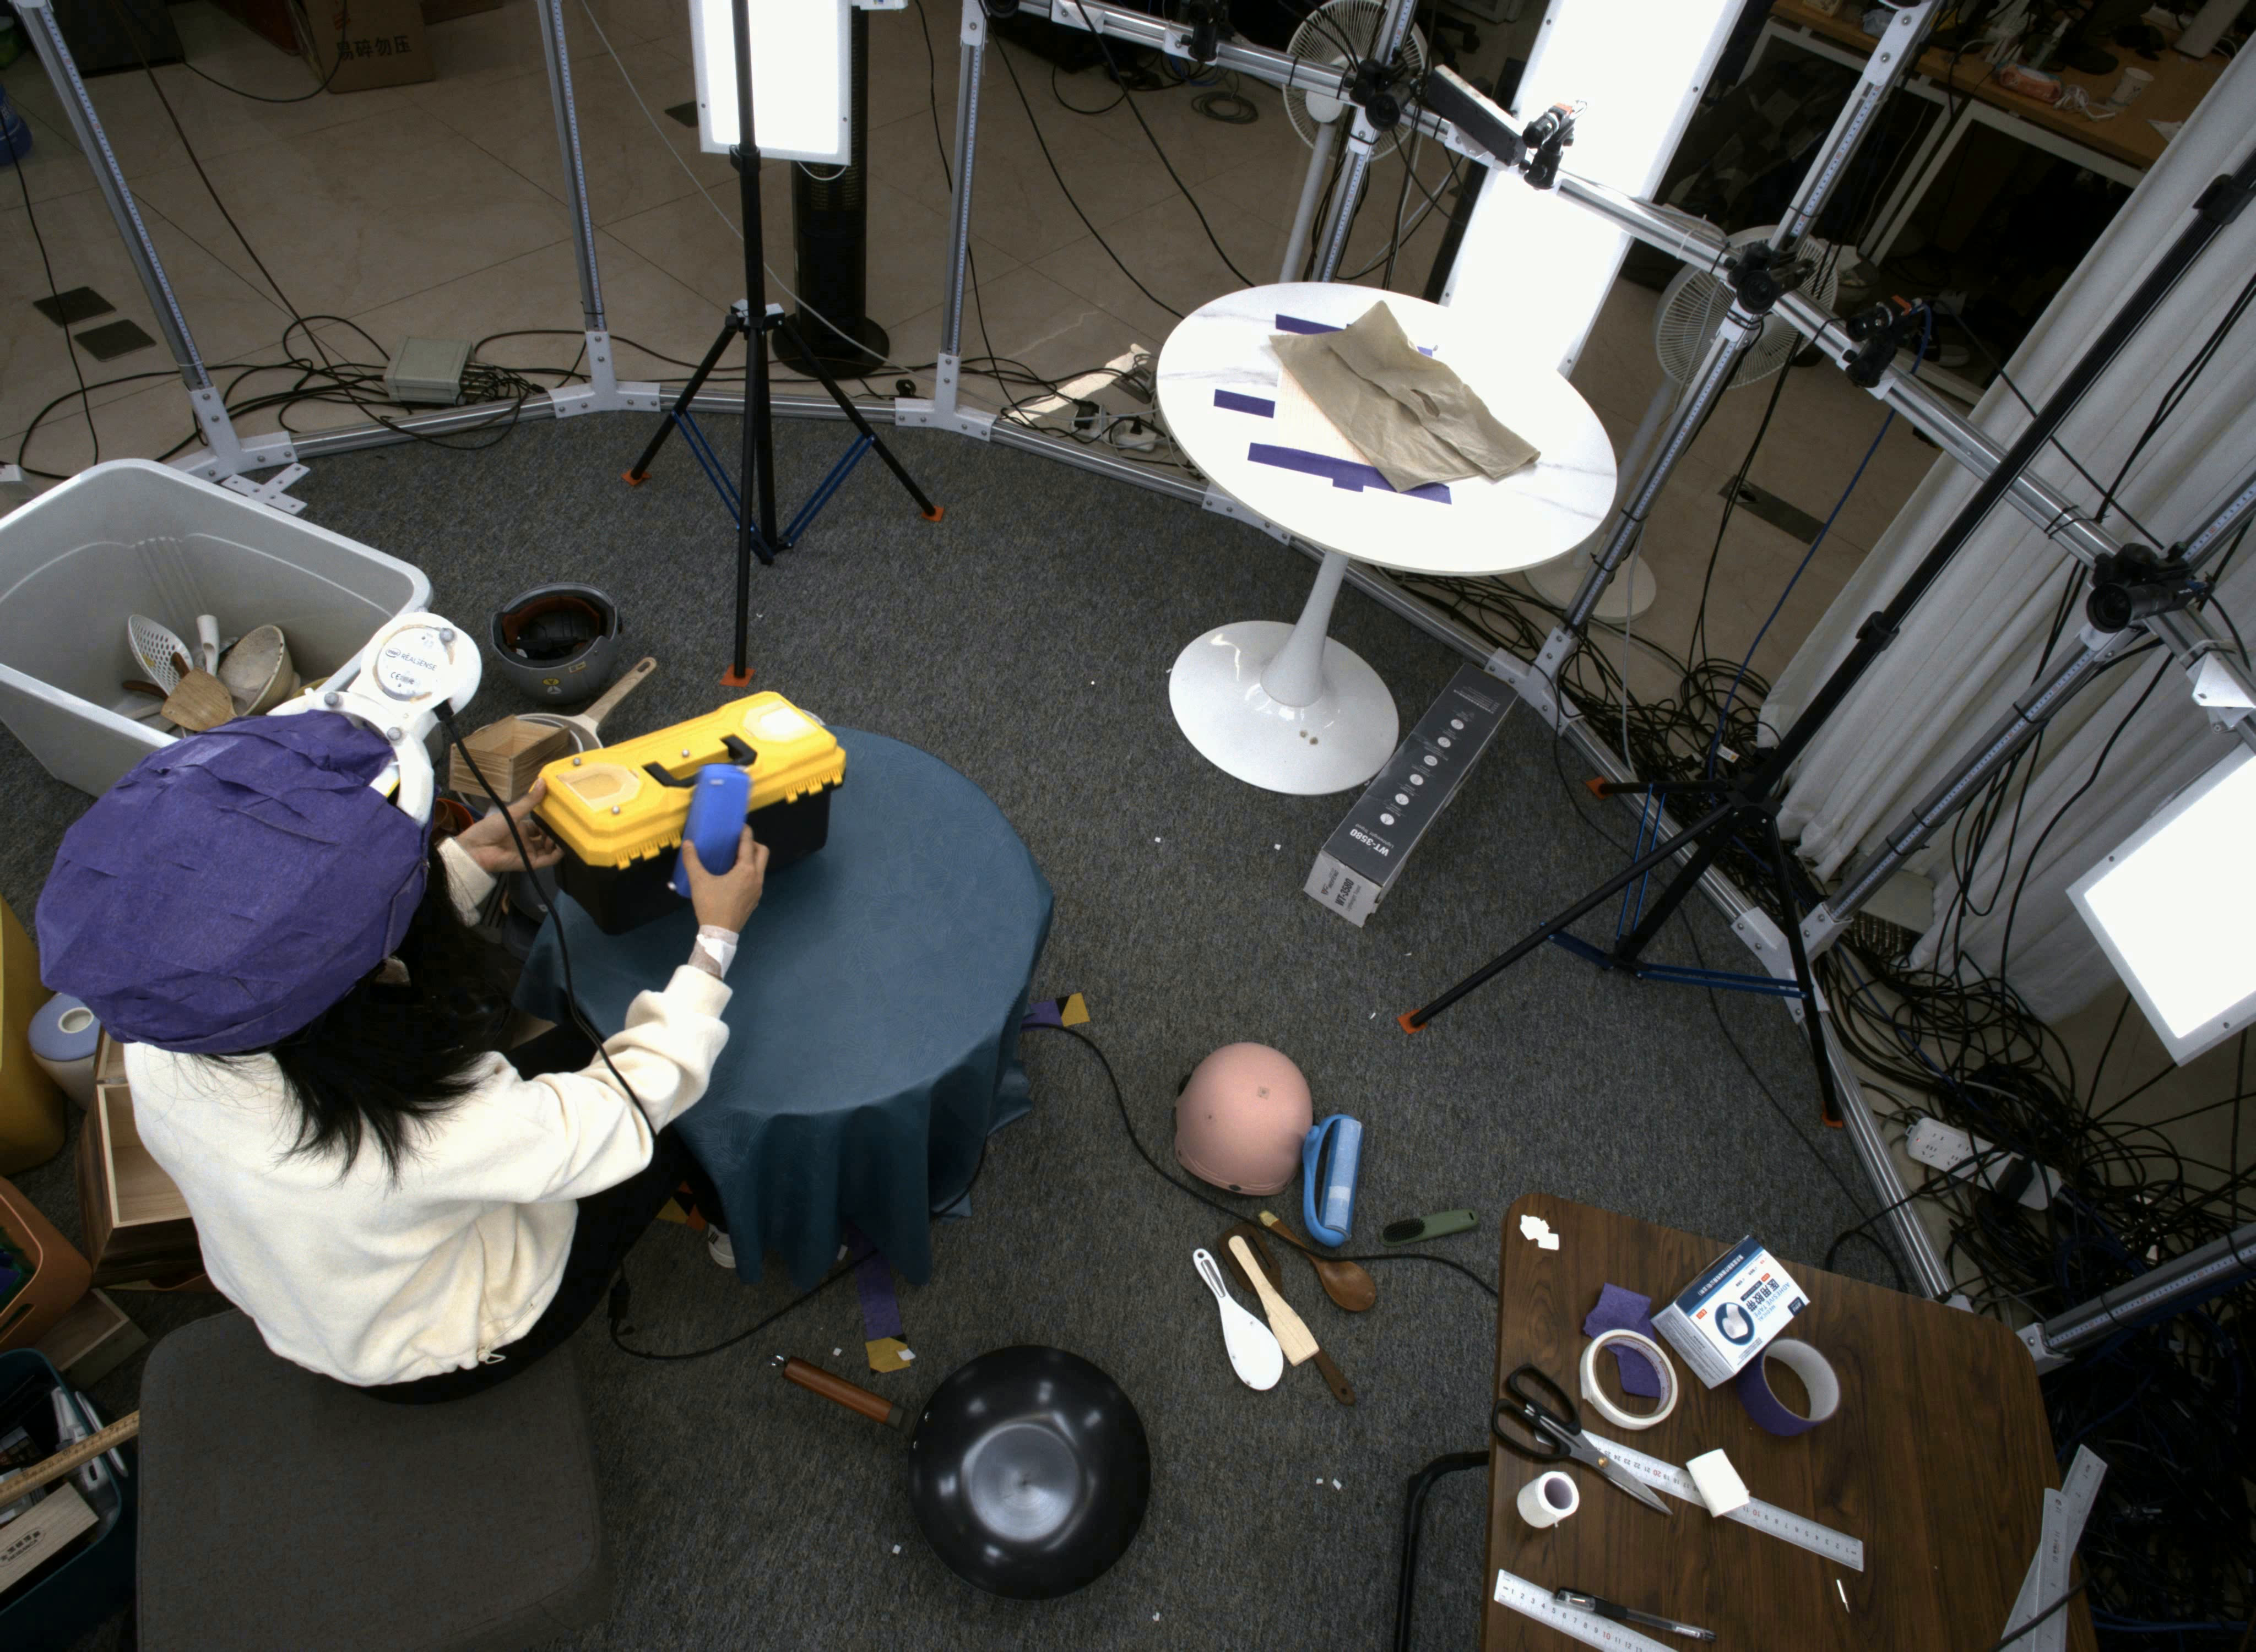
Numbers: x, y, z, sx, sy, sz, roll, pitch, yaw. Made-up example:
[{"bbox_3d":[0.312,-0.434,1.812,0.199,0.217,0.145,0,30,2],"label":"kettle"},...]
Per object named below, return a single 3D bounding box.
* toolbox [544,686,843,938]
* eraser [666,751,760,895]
[{"bbox_3d":[-0.525,-0.024,1.552,0.175,0.177,0.354,34,41,28],"label":"toolbox"},{"bbox_3d":[-0.462,-0.002,1.448,0.046,0.164,0.055,27,8,37],"label":"eraser"}]
